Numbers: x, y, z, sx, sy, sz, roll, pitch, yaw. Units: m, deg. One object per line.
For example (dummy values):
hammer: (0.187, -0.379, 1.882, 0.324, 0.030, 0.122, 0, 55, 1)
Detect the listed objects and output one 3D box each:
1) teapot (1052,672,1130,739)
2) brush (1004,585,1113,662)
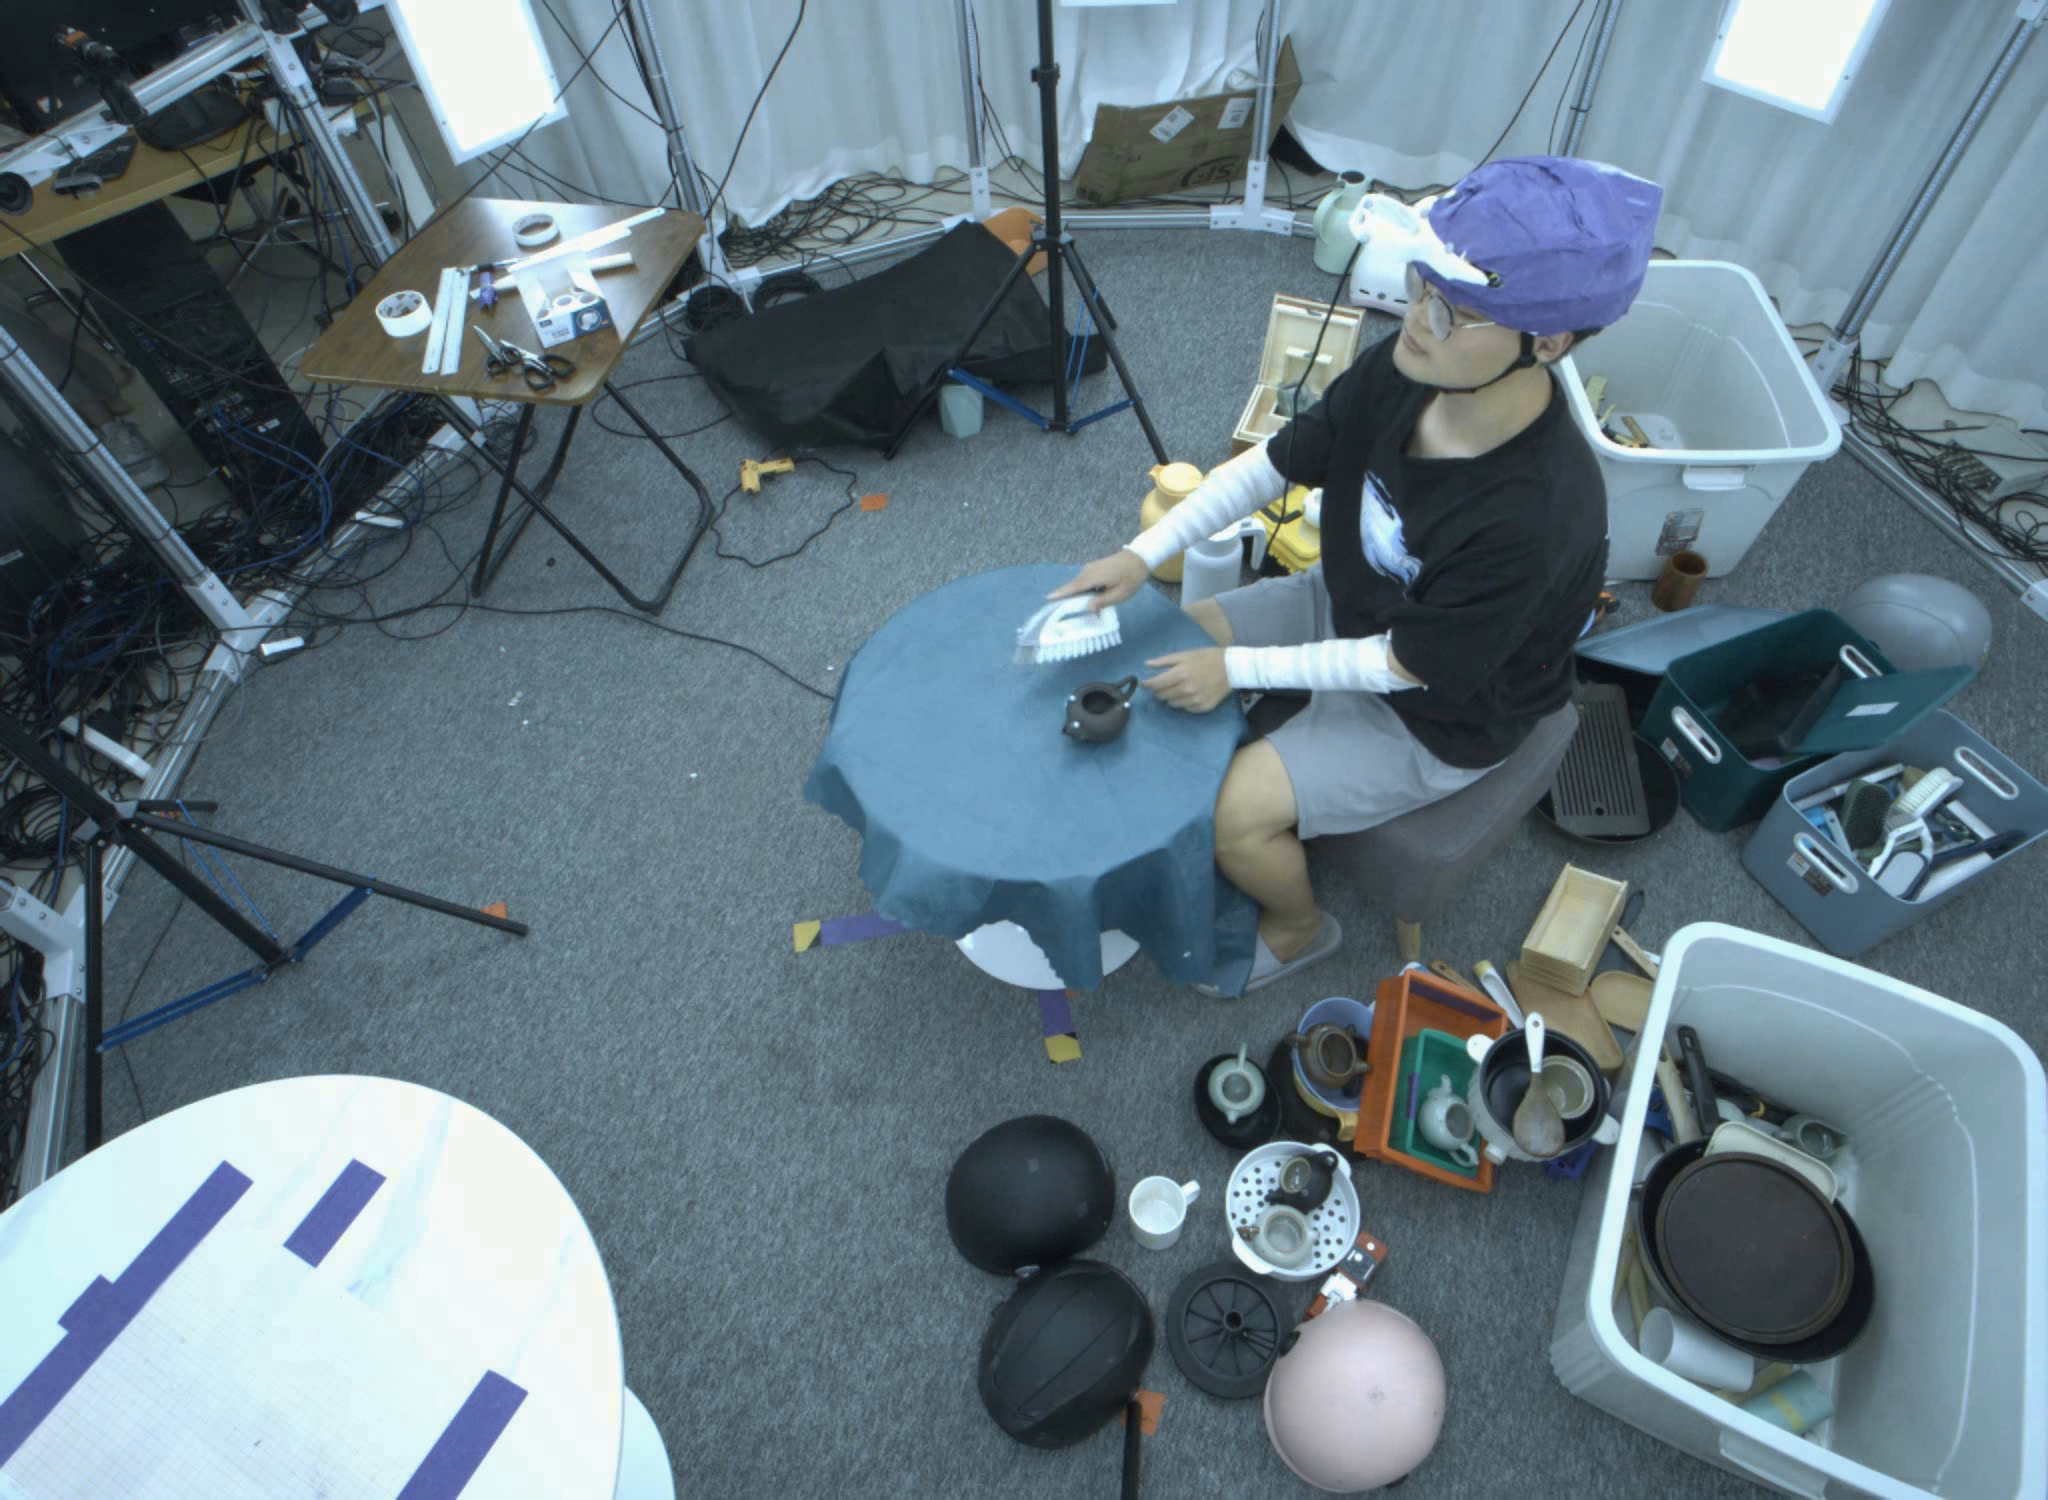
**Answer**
teapot: (0.097, -0.061, 1.778, 0.155, 0.065, 0.090, -40, 62, -22)
brush: (0.045, -0.189, 1.815, 0.178, 0.095, 0.060, -18, 30, -22)
